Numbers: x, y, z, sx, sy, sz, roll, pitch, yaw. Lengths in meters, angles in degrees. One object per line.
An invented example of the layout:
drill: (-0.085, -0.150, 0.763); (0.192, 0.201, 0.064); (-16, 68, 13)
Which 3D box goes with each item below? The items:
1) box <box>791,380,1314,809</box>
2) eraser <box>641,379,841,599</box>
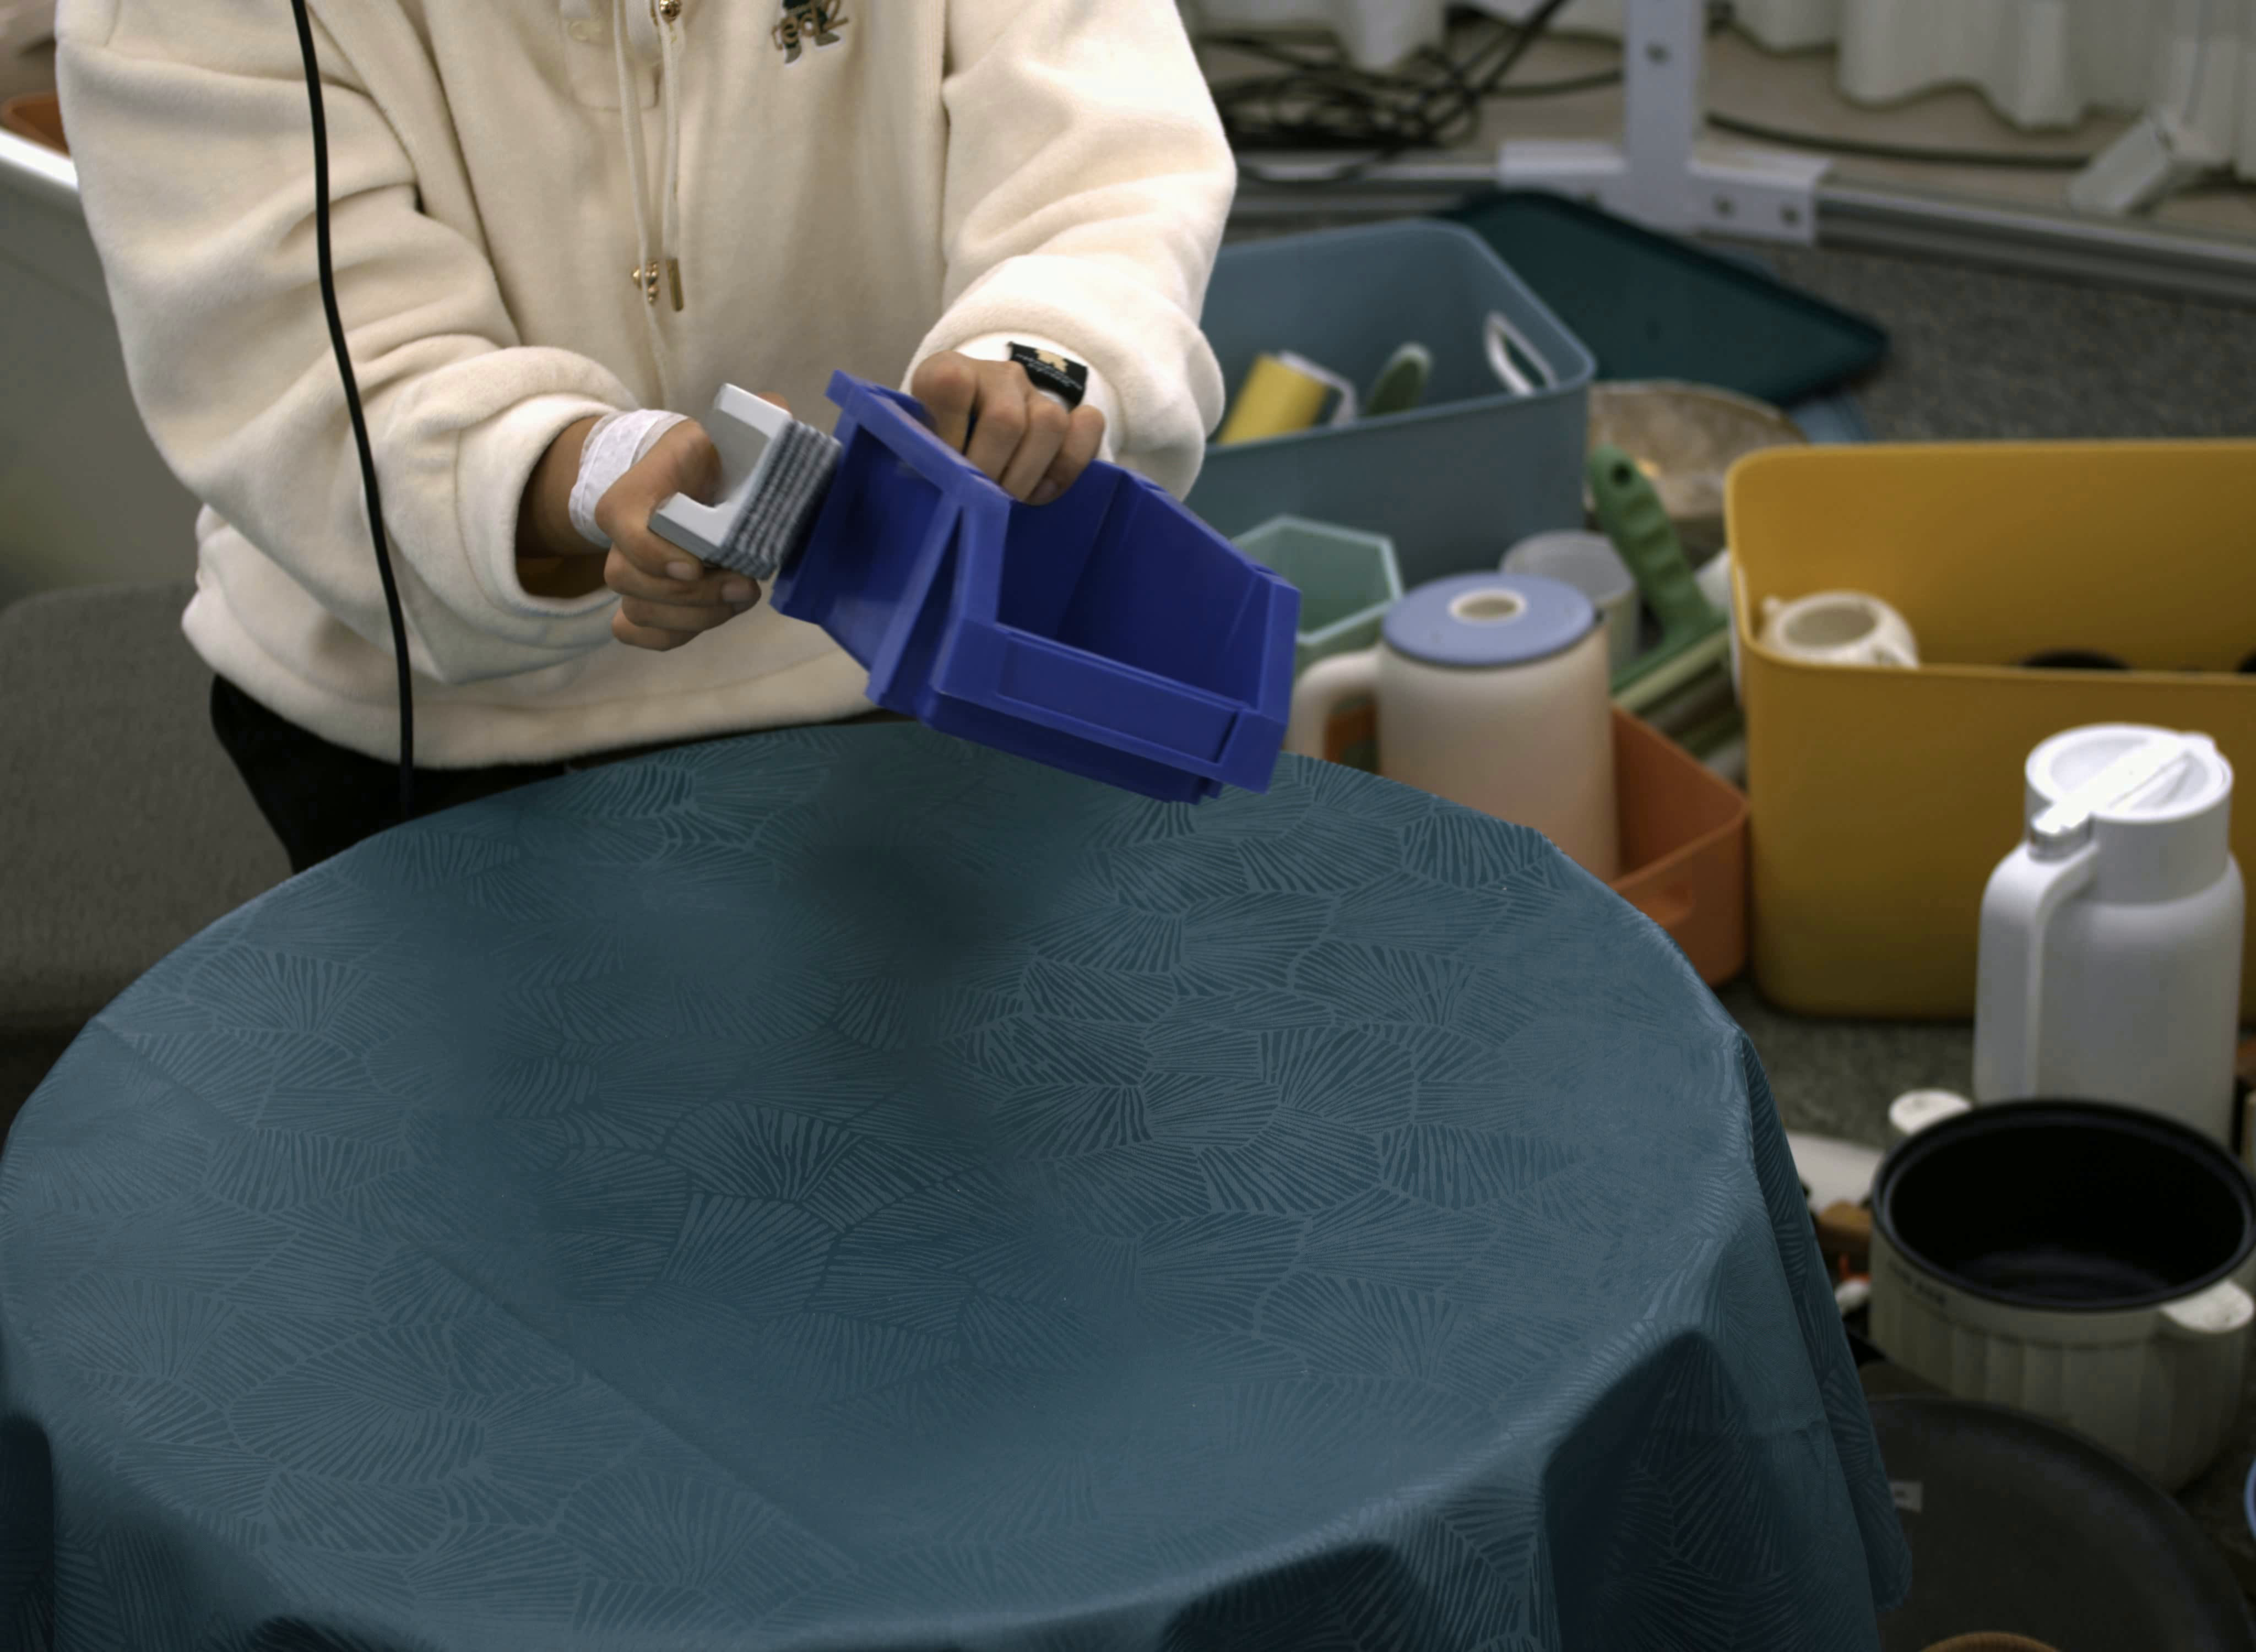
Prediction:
box: (-0.023, -0.071, 1.830); (0.124, 0.082, 0.180); (18, 8, -24)
eraser: (-0.130, -0.111, 1.883); (0.046, 0.050, 0.133); (27, -7, -8)
